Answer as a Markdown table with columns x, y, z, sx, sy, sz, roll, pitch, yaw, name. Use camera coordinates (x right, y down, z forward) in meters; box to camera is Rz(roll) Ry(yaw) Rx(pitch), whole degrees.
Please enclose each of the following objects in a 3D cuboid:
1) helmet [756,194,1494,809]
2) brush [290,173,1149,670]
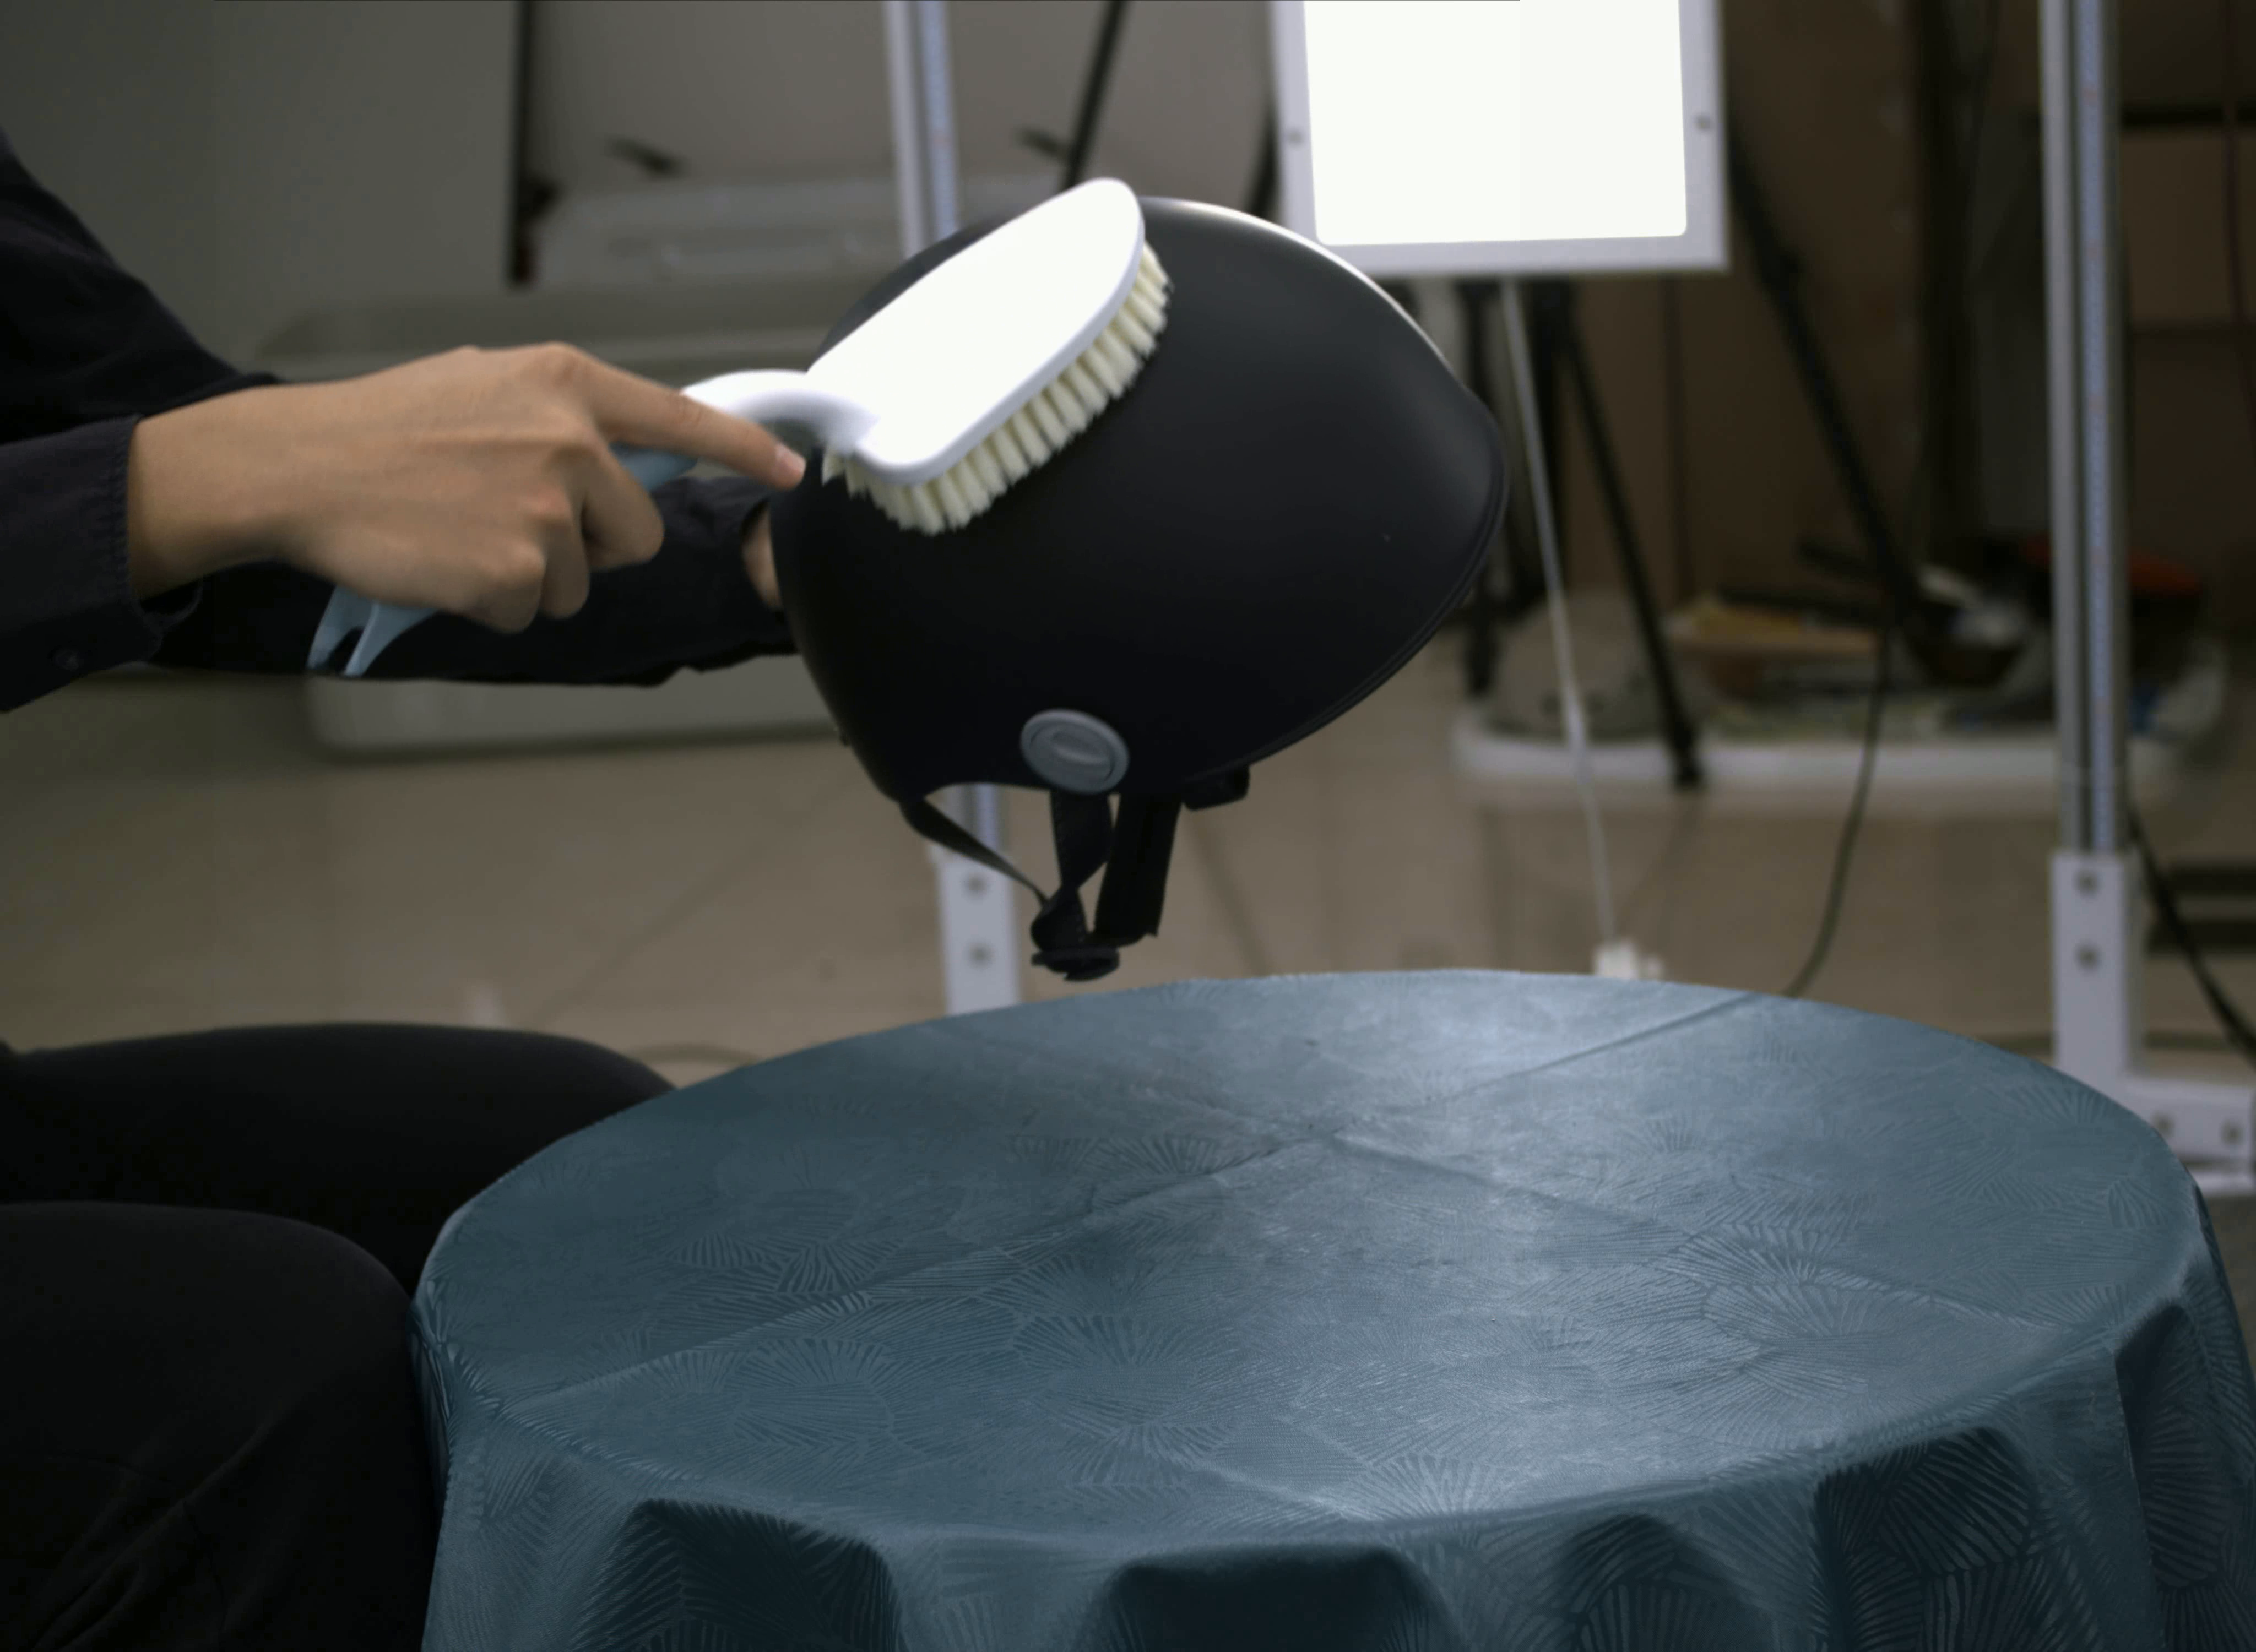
| x | y | z | sx | sy | sz | roll | pitch | yaw | name |
| --- | --- | --- | --- | --- | --- | --- | --- | --- | --- |
| -0.020 | -0.125 | 1.900 | 0.279 | 0.165 | 0.227 | -2 | 49 | 48 | helmet |
| -0.126 | -0.111 | 1.766 | 0.320 | 0.084 | 0.084 | -32 | 10 | -22 | brush |
